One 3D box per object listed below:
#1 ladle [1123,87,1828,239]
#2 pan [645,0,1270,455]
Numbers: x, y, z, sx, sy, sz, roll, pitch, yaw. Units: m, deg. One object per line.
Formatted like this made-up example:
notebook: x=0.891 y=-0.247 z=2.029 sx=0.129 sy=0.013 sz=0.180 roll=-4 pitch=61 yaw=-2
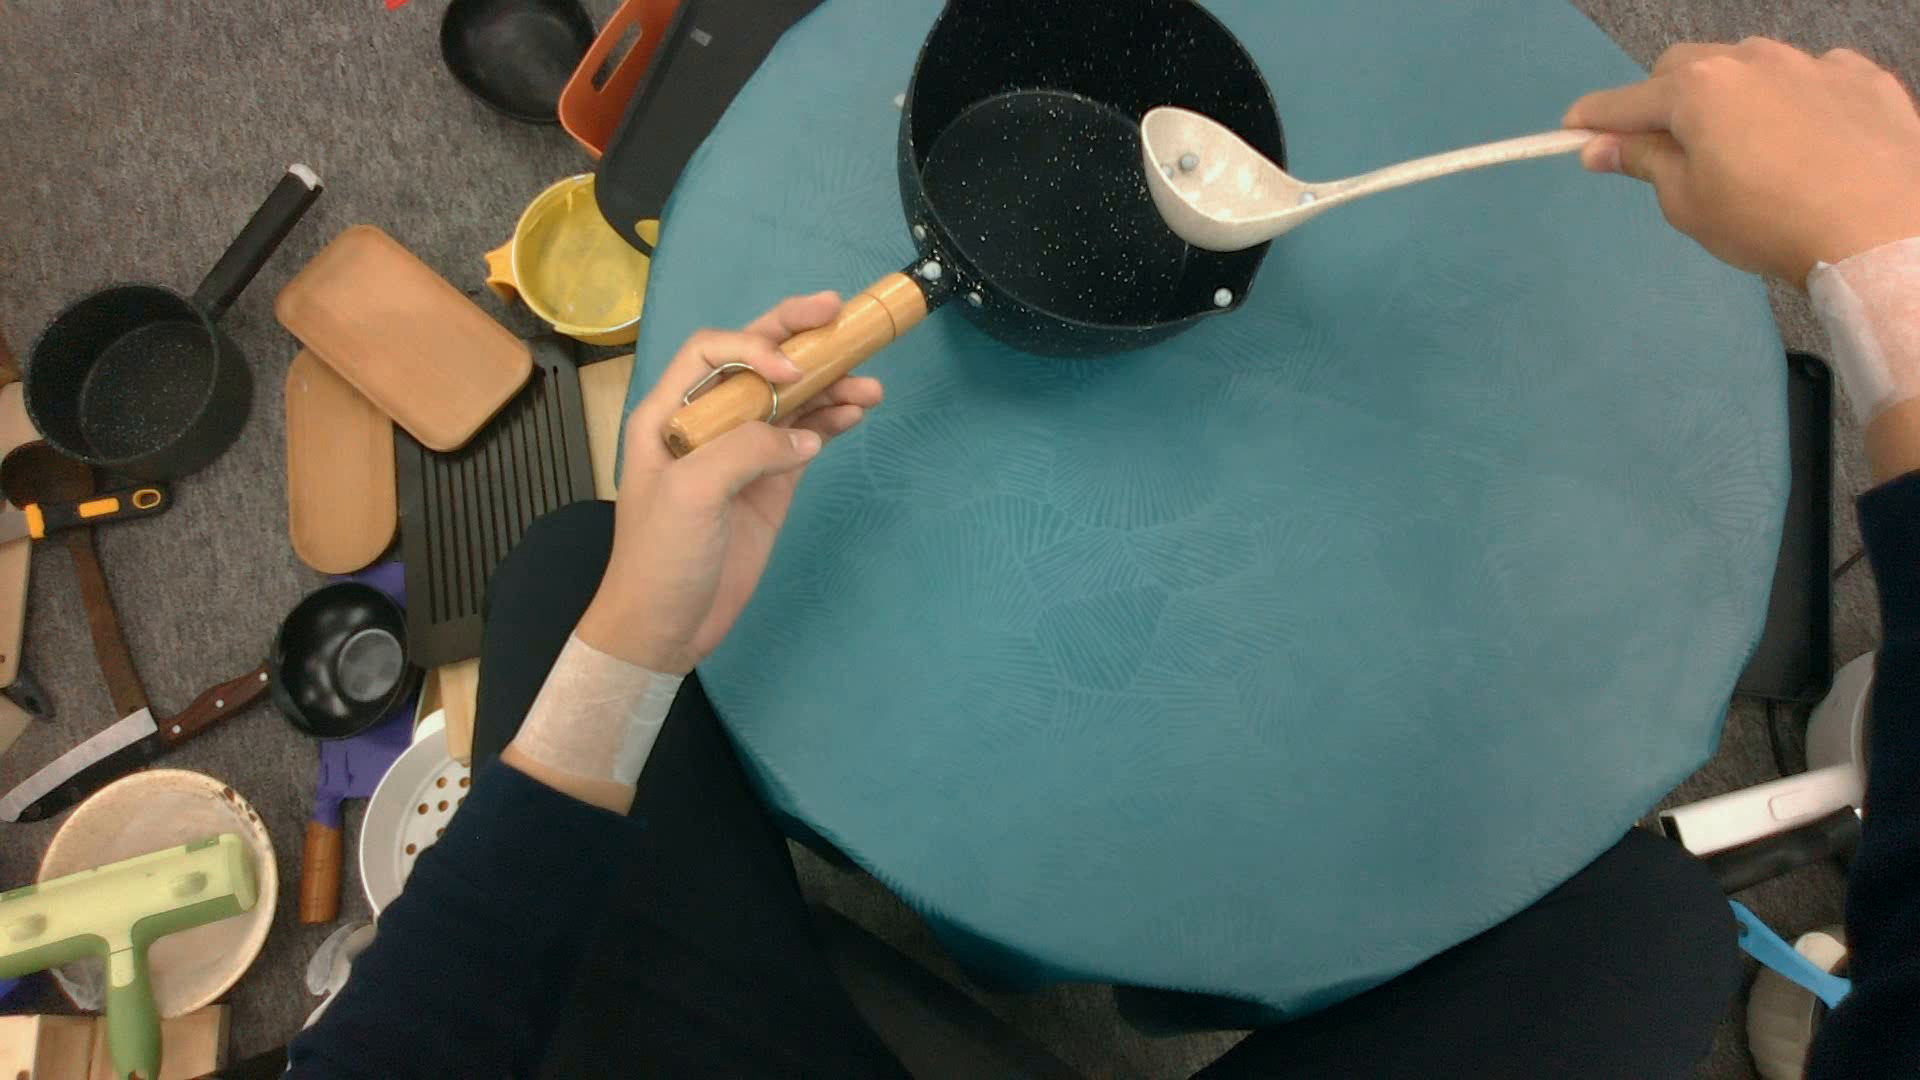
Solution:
ladle: x=0.203 y=-0.184 z=0.582 sx=0.274 sy=0.090 sz=0.069 roll=-7 pitch=112 yaw=30
pan: x=-0.005 y=-0.133 z=0.640 sx=0.344 sy=0.108 sz=0.207 roll=-41 pitch=90 yaw=-20
